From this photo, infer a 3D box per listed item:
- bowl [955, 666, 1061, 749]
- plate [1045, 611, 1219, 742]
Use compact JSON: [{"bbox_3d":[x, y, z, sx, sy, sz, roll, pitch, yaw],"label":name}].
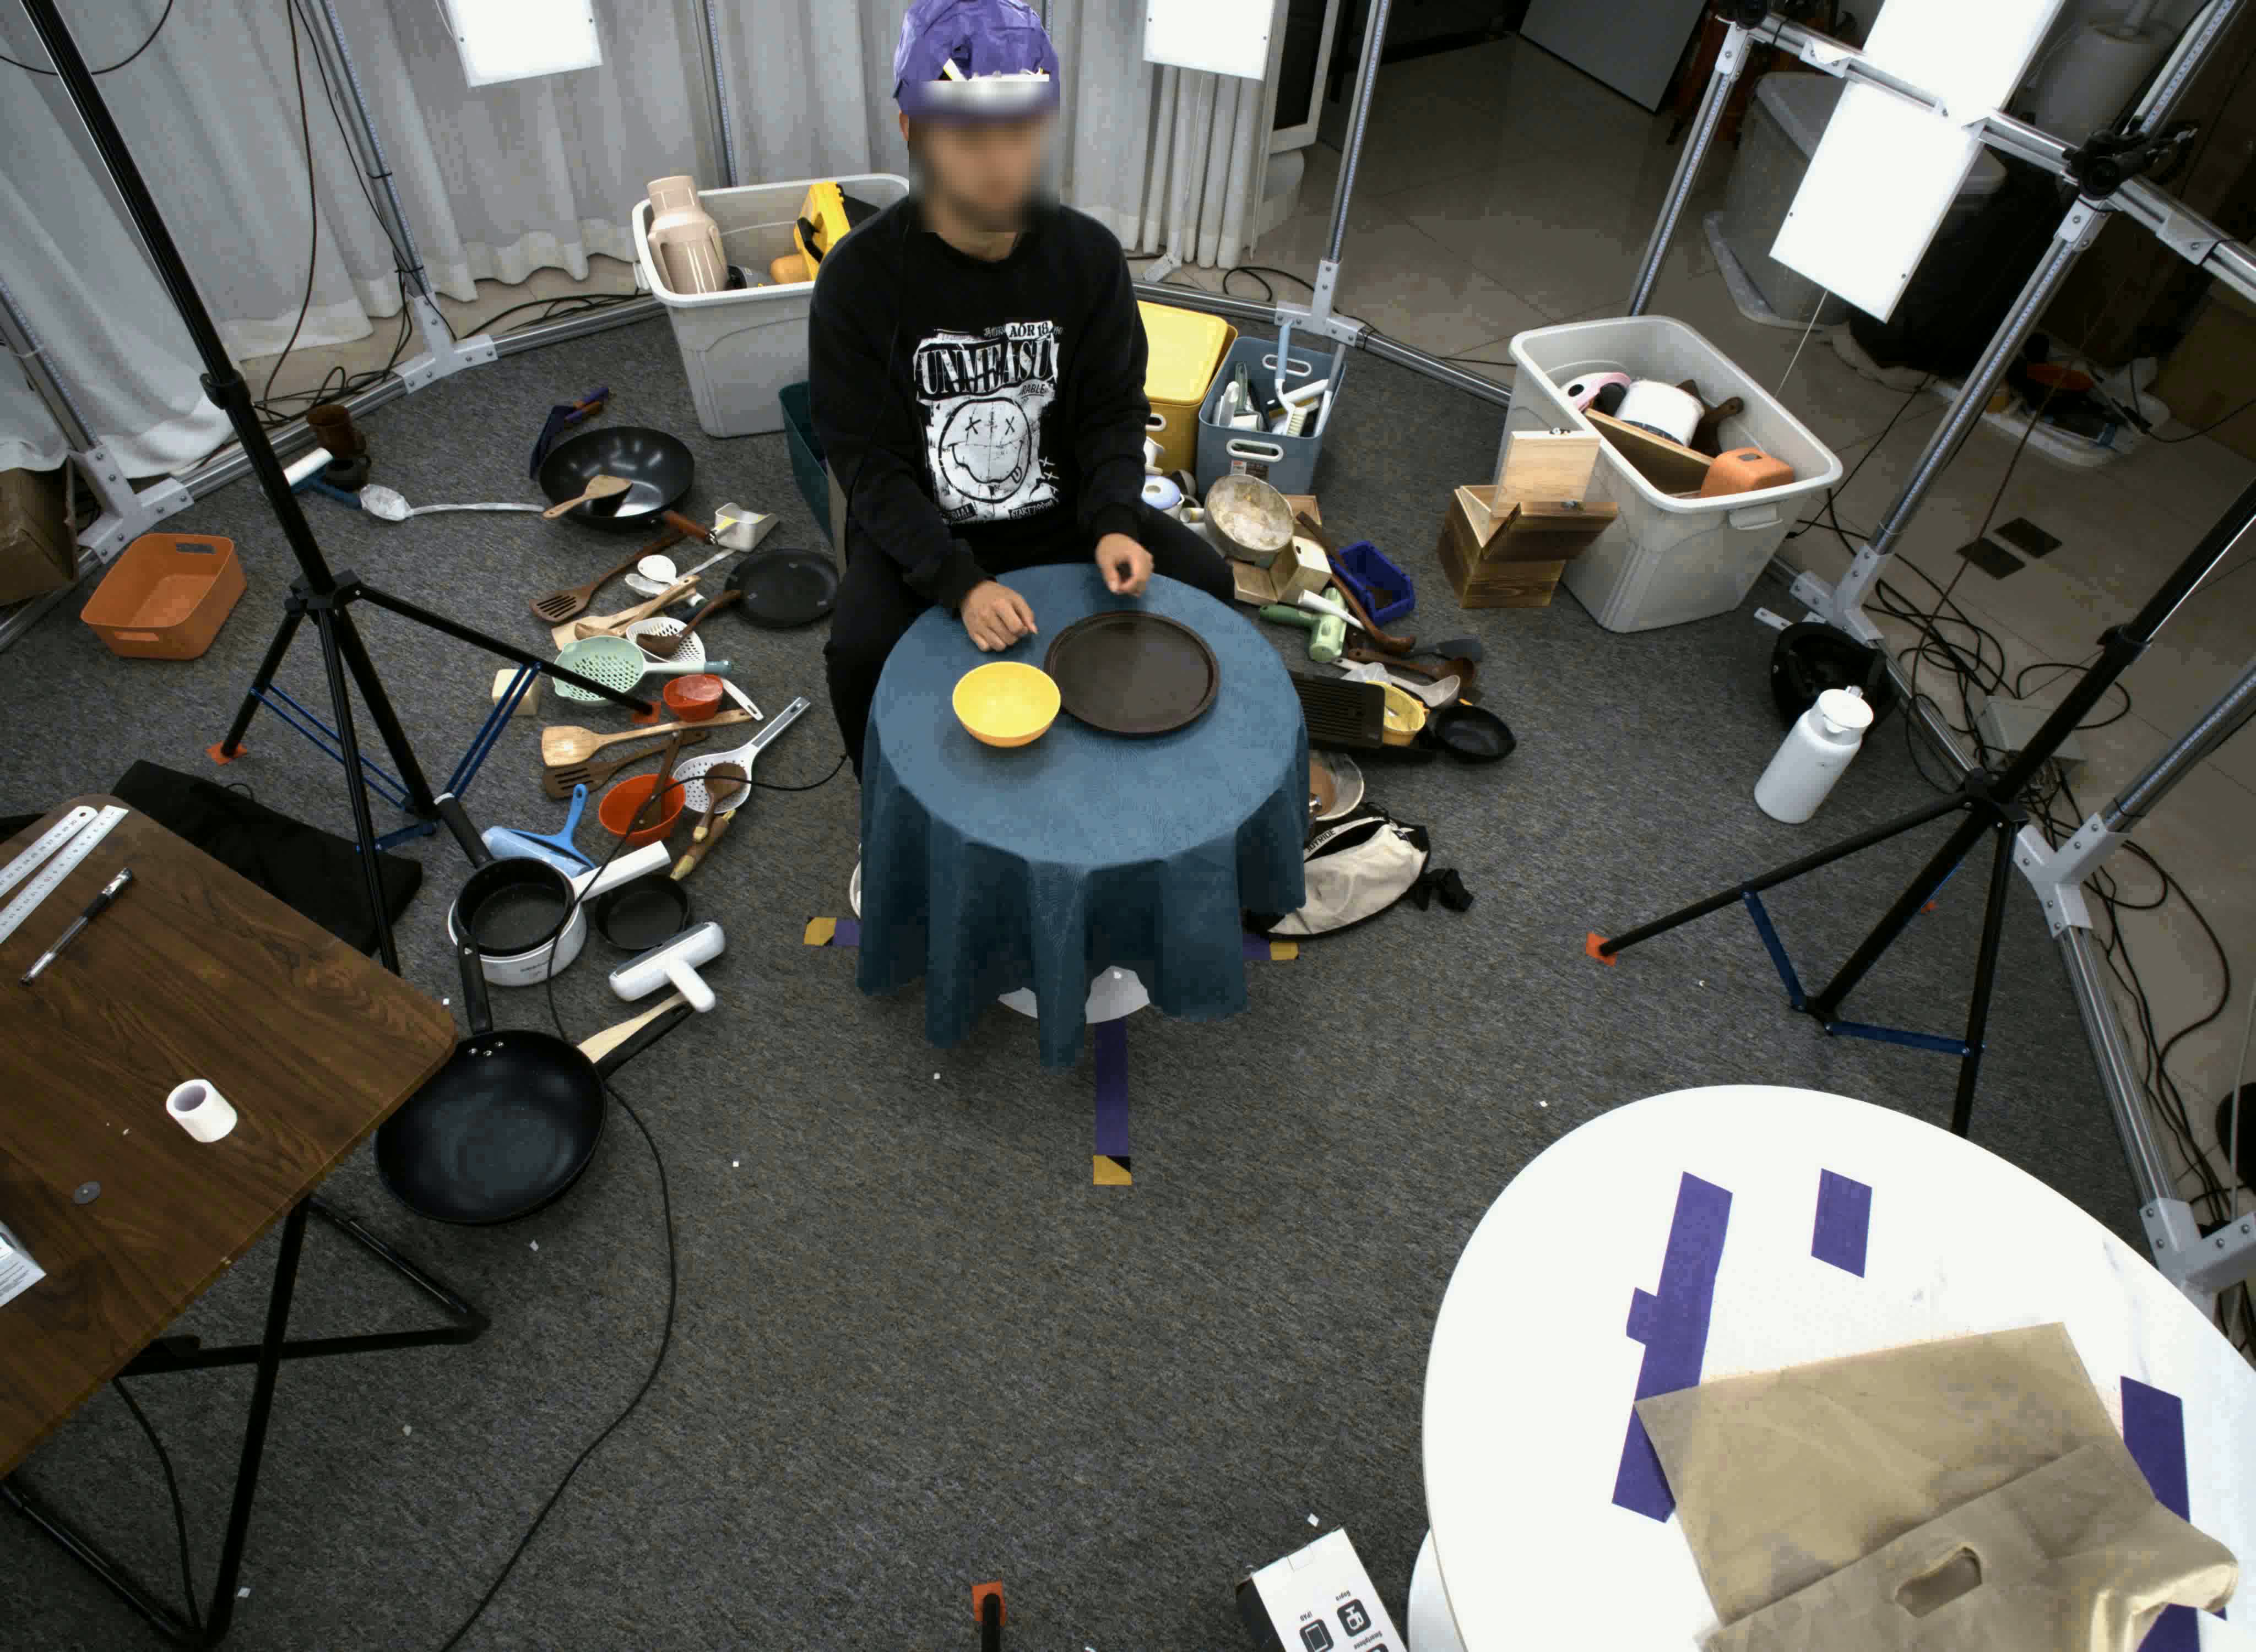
[{"bbox_3d":[-0.165,-0.151,1.769,0.145,0.058,0.149,2,46,-3],"label":"bowl"},{"bbox_3d":[0.007,-0.218,1.862,0.254,0.028,0.261,0,50,-1],"label":"plate"}]
